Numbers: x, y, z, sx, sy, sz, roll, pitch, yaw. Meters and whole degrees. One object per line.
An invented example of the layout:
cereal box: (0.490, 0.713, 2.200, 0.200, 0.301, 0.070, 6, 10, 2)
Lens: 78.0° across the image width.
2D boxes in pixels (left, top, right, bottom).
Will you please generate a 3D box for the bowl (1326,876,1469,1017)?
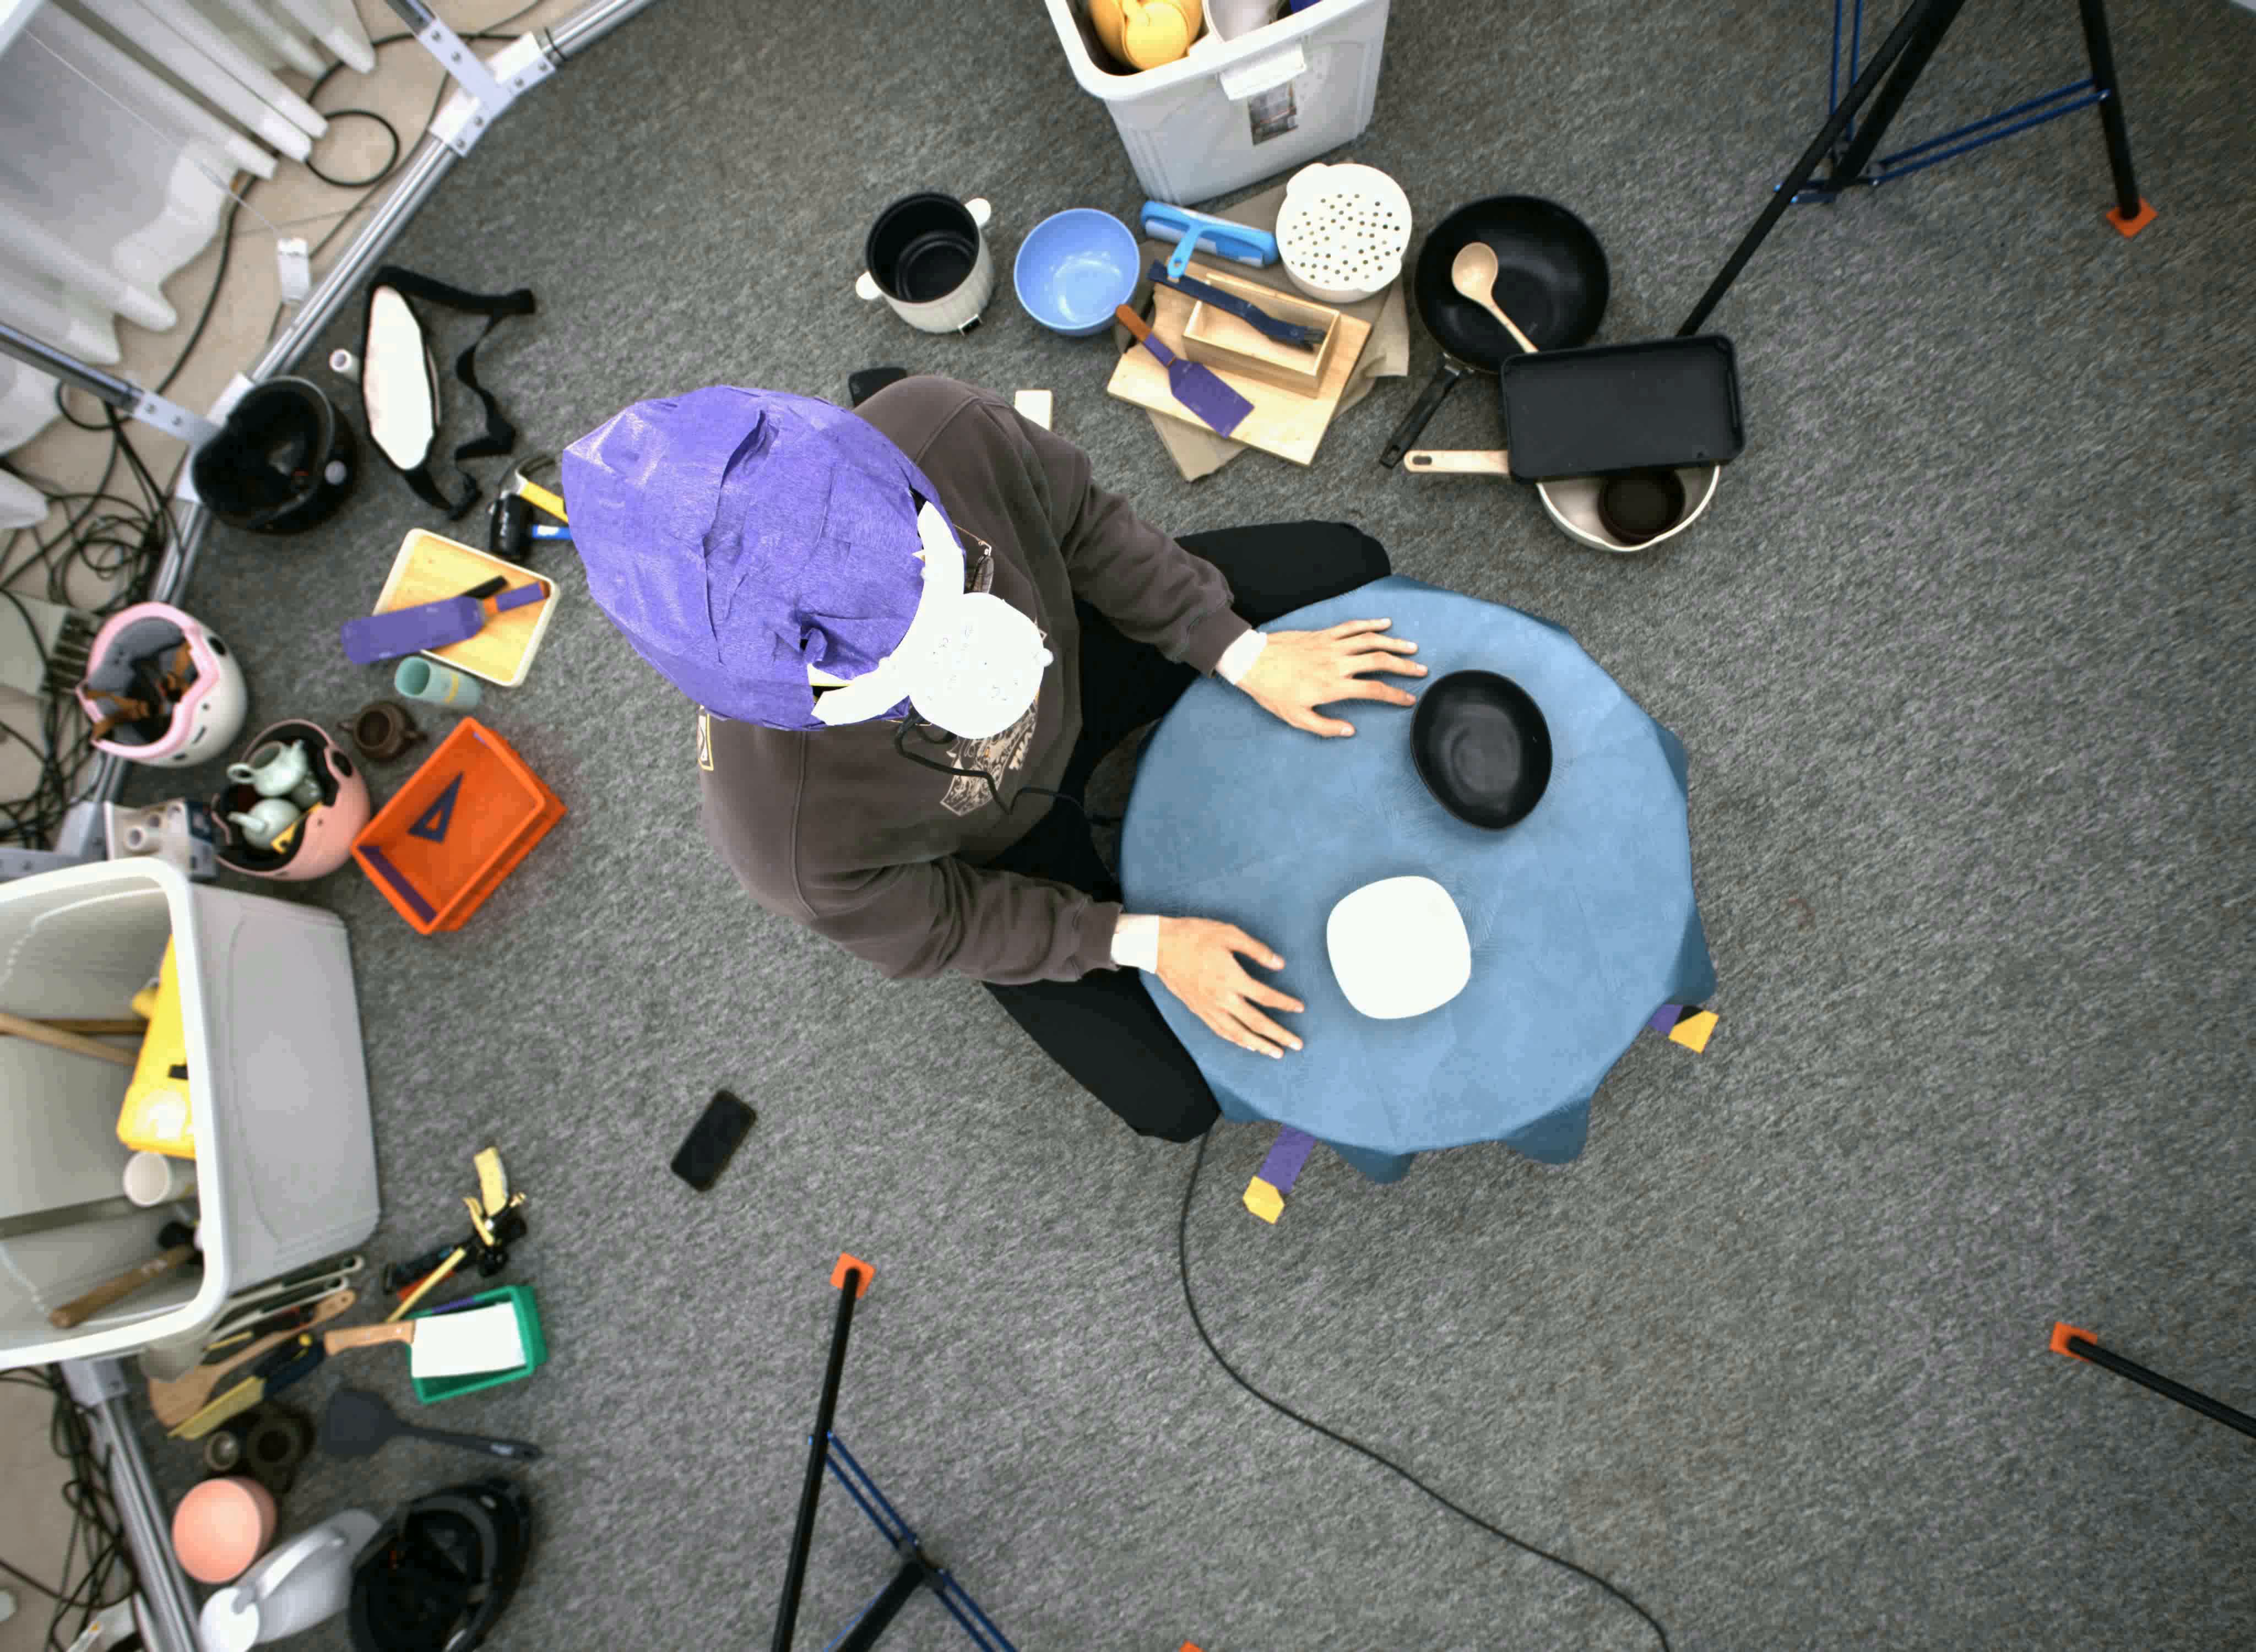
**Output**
bowl: (0.276, 0.123, 1.425, 0.152, 0.058, 0.151, -1, 87, 8)

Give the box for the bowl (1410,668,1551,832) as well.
bowl: (0.363, -0.079, 1.416, 0.138, 0.066, 0.169, -21, 85, 9)
